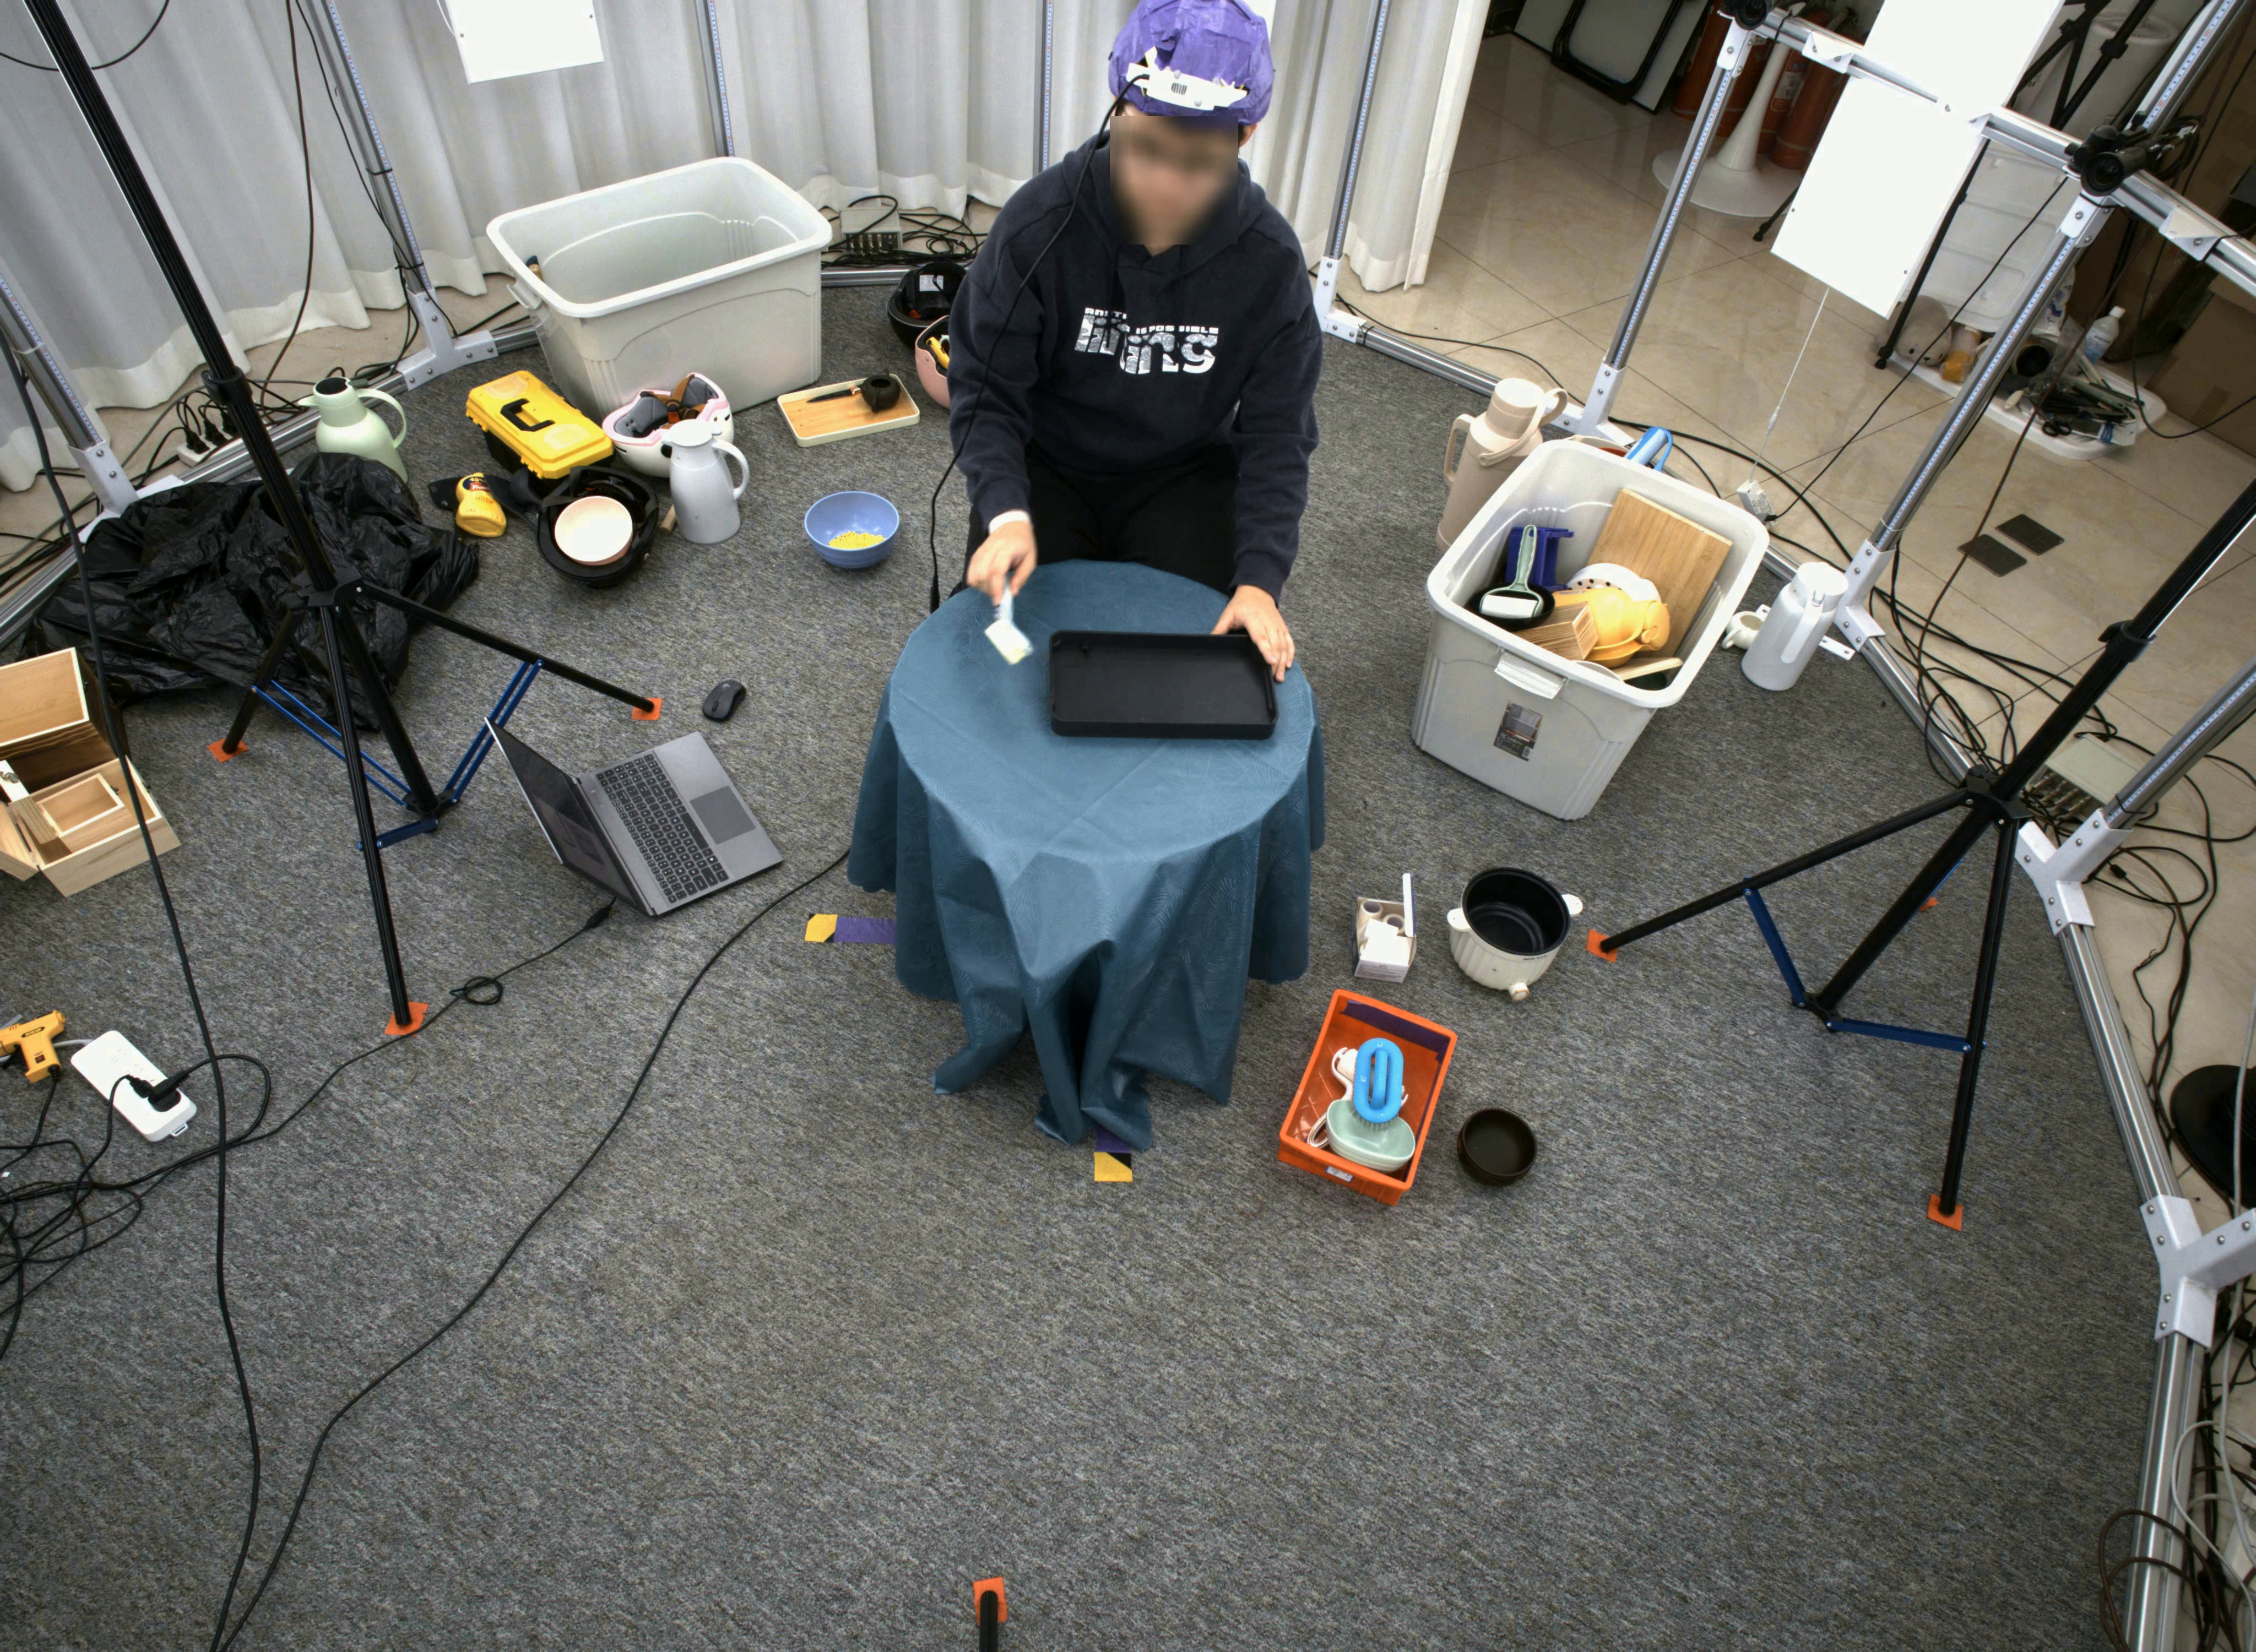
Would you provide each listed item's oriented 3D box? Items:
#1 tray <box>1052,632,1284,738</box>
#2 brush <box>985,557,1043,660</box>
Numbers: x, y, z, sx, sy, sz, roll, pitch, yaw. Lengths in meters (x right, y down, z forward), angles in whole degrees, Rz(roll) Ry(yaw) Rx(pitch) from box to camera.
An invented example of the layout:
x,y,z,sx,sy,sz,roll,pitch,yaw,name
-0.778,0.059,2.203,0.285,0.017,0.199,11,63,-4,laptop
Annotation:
x,y,z,sx,sy,sz,roll,pitch,yaw,name
0.053,-0.202,1.822,0.317,0.036,0.189,-1,49,-5,tray
-0.170,-0.307,1.792,0.049,0.037,0.234,-37,45,15,brush
